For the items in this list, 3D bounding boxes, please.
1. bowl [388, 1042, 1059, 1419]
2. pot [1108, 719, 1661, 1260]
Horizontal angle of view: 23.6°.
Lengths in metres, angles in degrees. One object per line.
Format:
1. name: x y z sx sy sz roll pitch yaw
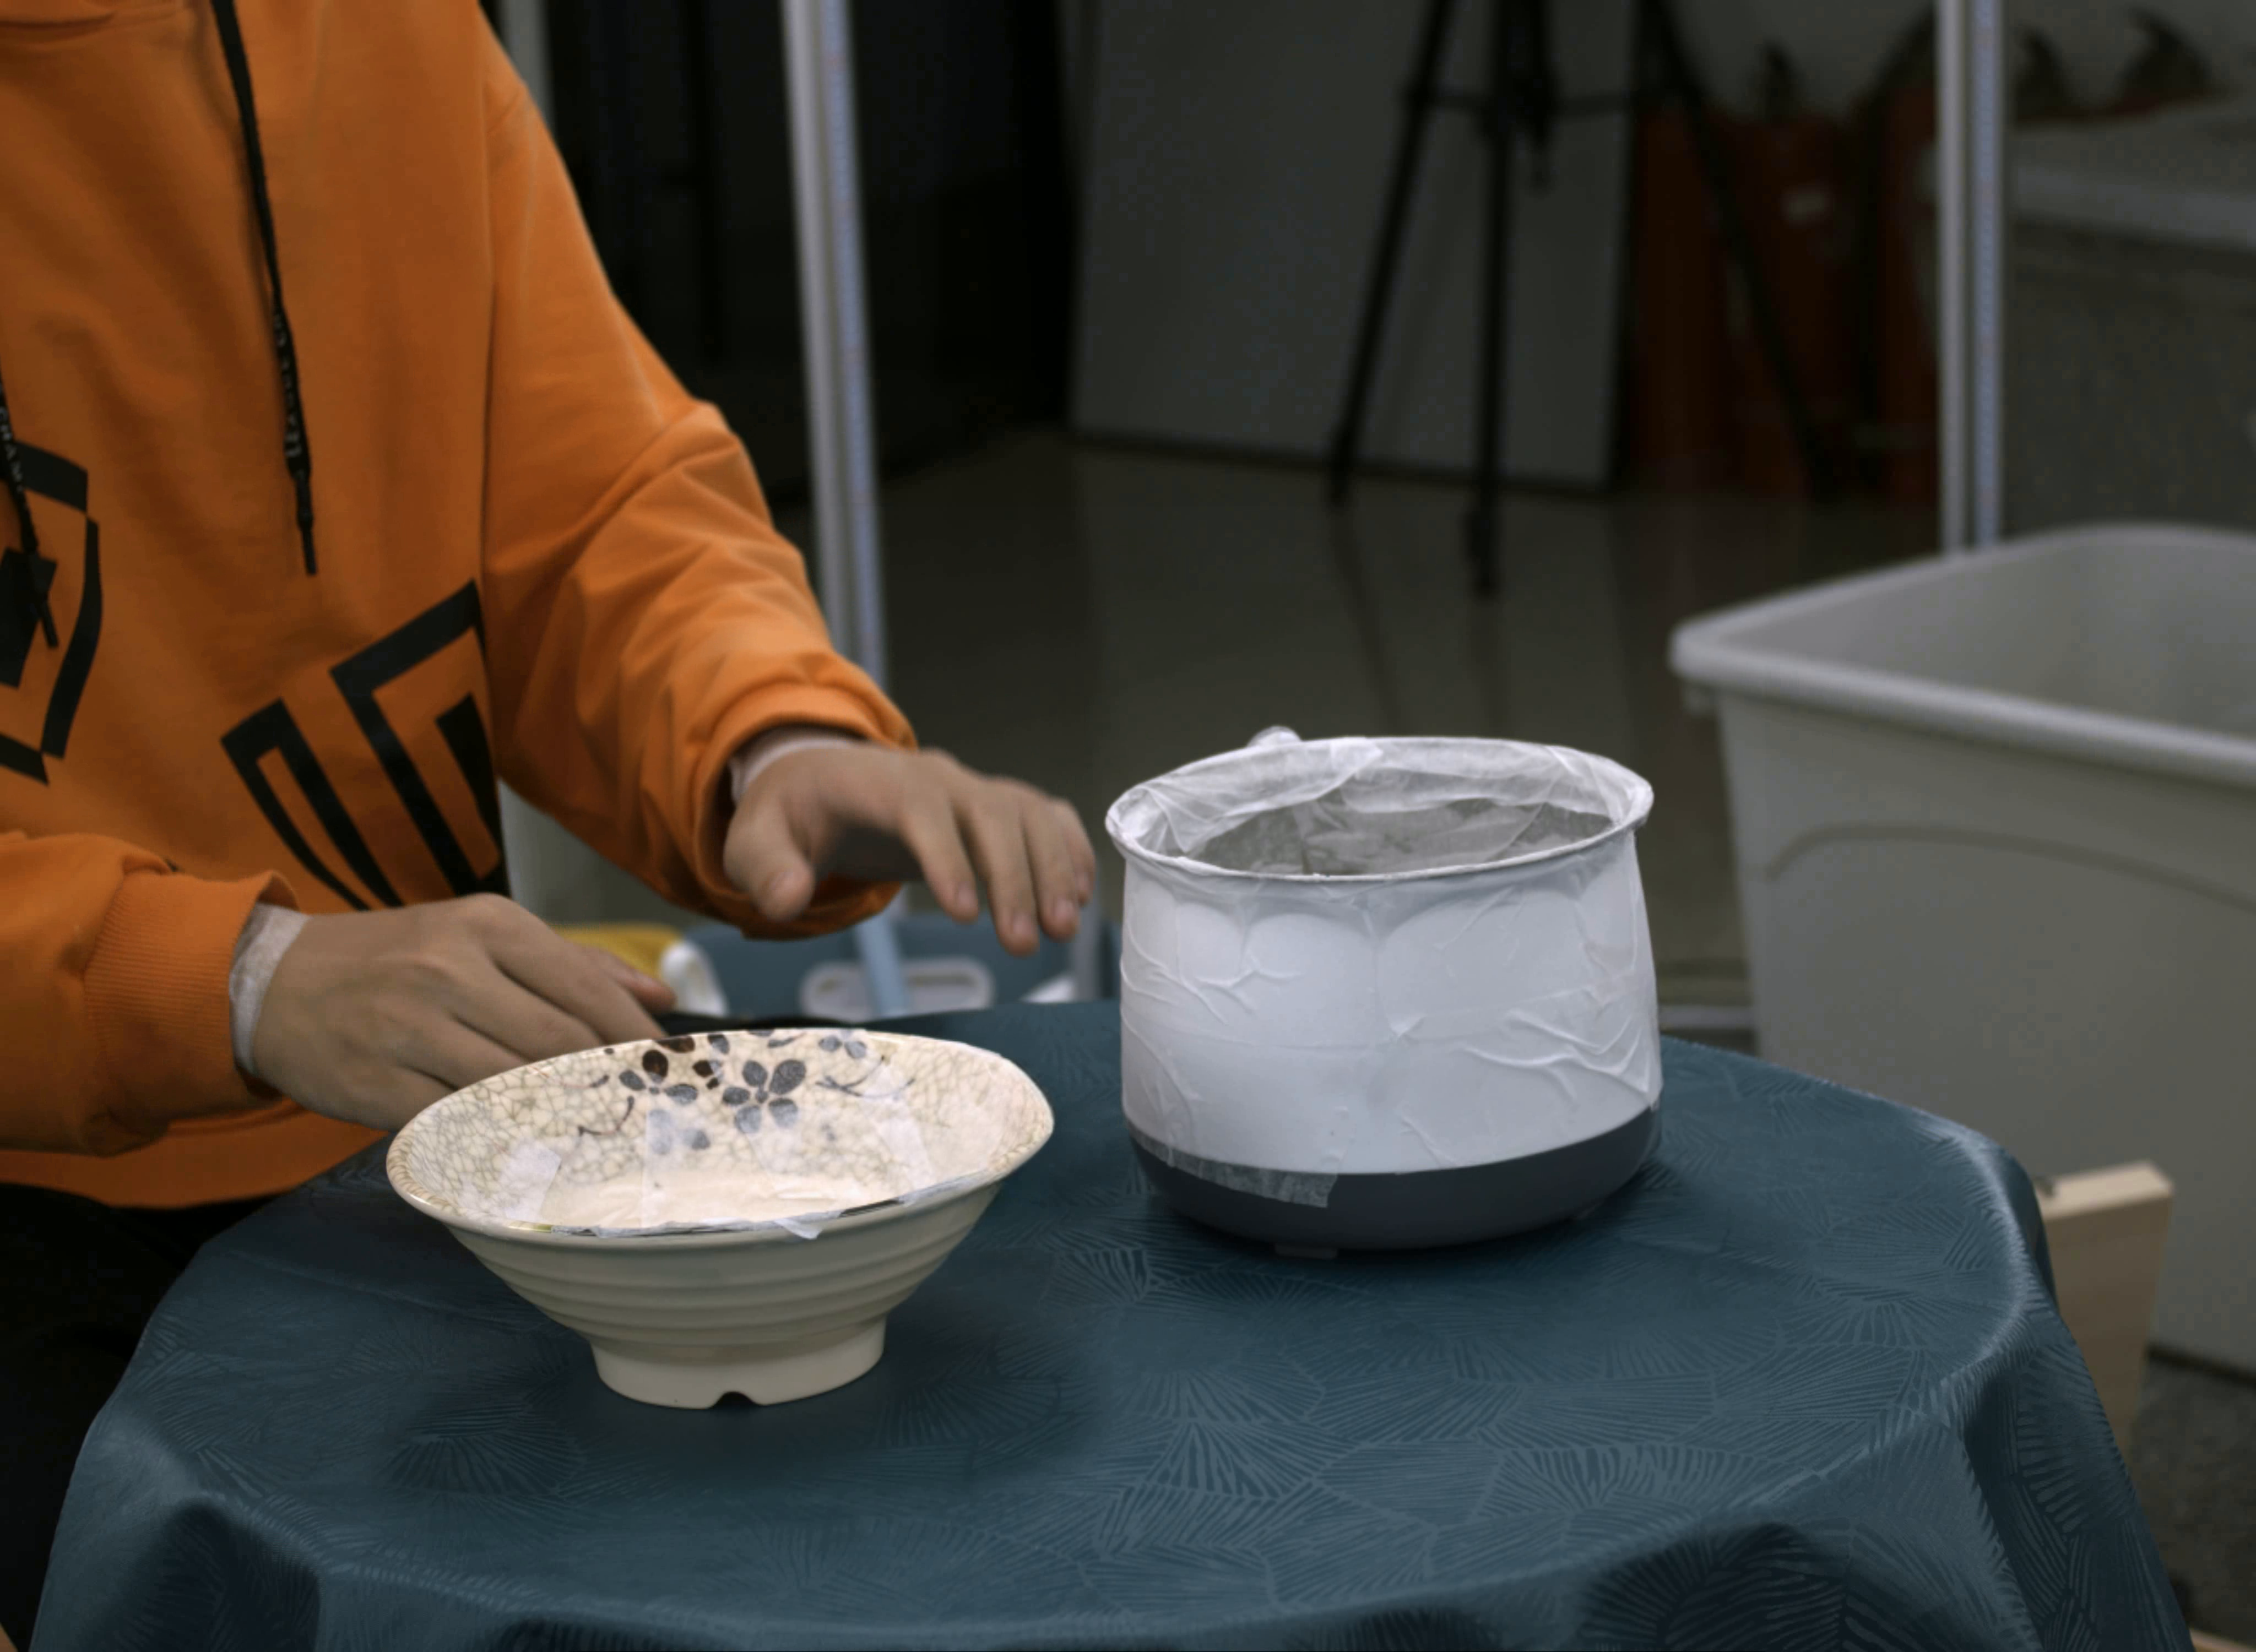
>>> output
1. bowl: -0.117 0.127 1.625 0.201 0.079 0.204 -6 12 0
2. pot: 0.074 0.047 1.760 0.175 0.138 0.236 -8 14 -17
